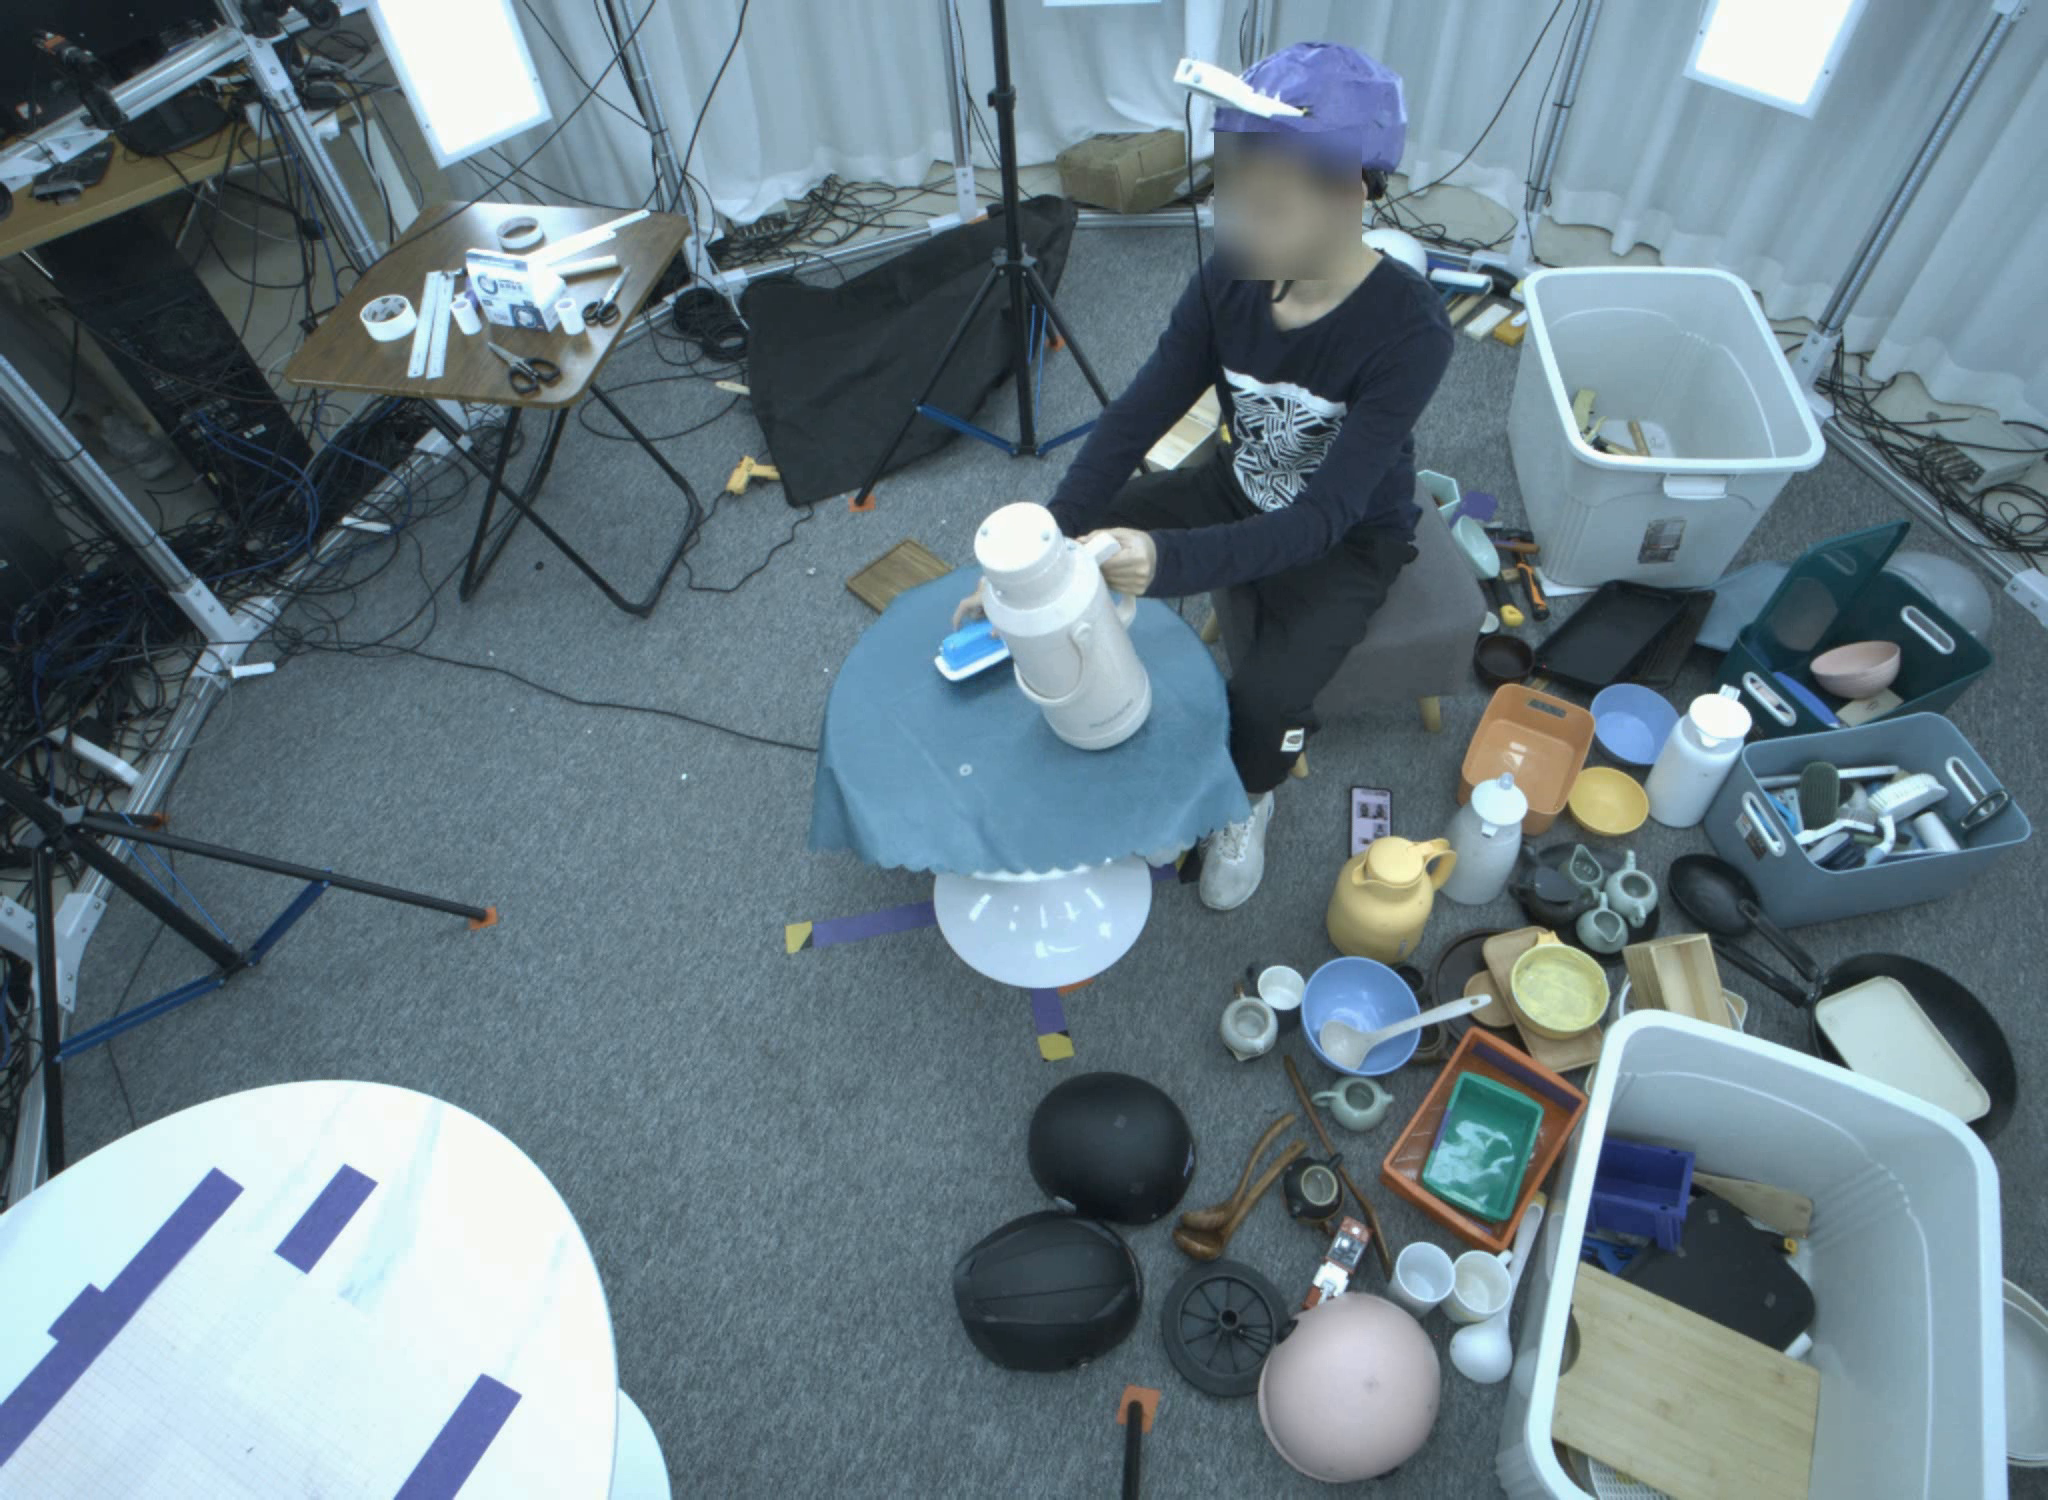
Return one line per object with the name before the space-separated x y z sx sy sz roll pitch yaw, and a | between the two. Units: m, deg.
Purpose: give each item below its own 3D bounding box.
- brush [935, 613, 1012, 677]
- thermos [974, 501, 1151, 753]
brush | -0.064 -0.170 1.848 0.144 0.057 0.082 -29 43 -10
thermos | 0.061 -0.168 1.631 0.207 0.414 0.171 -39 55 -5
